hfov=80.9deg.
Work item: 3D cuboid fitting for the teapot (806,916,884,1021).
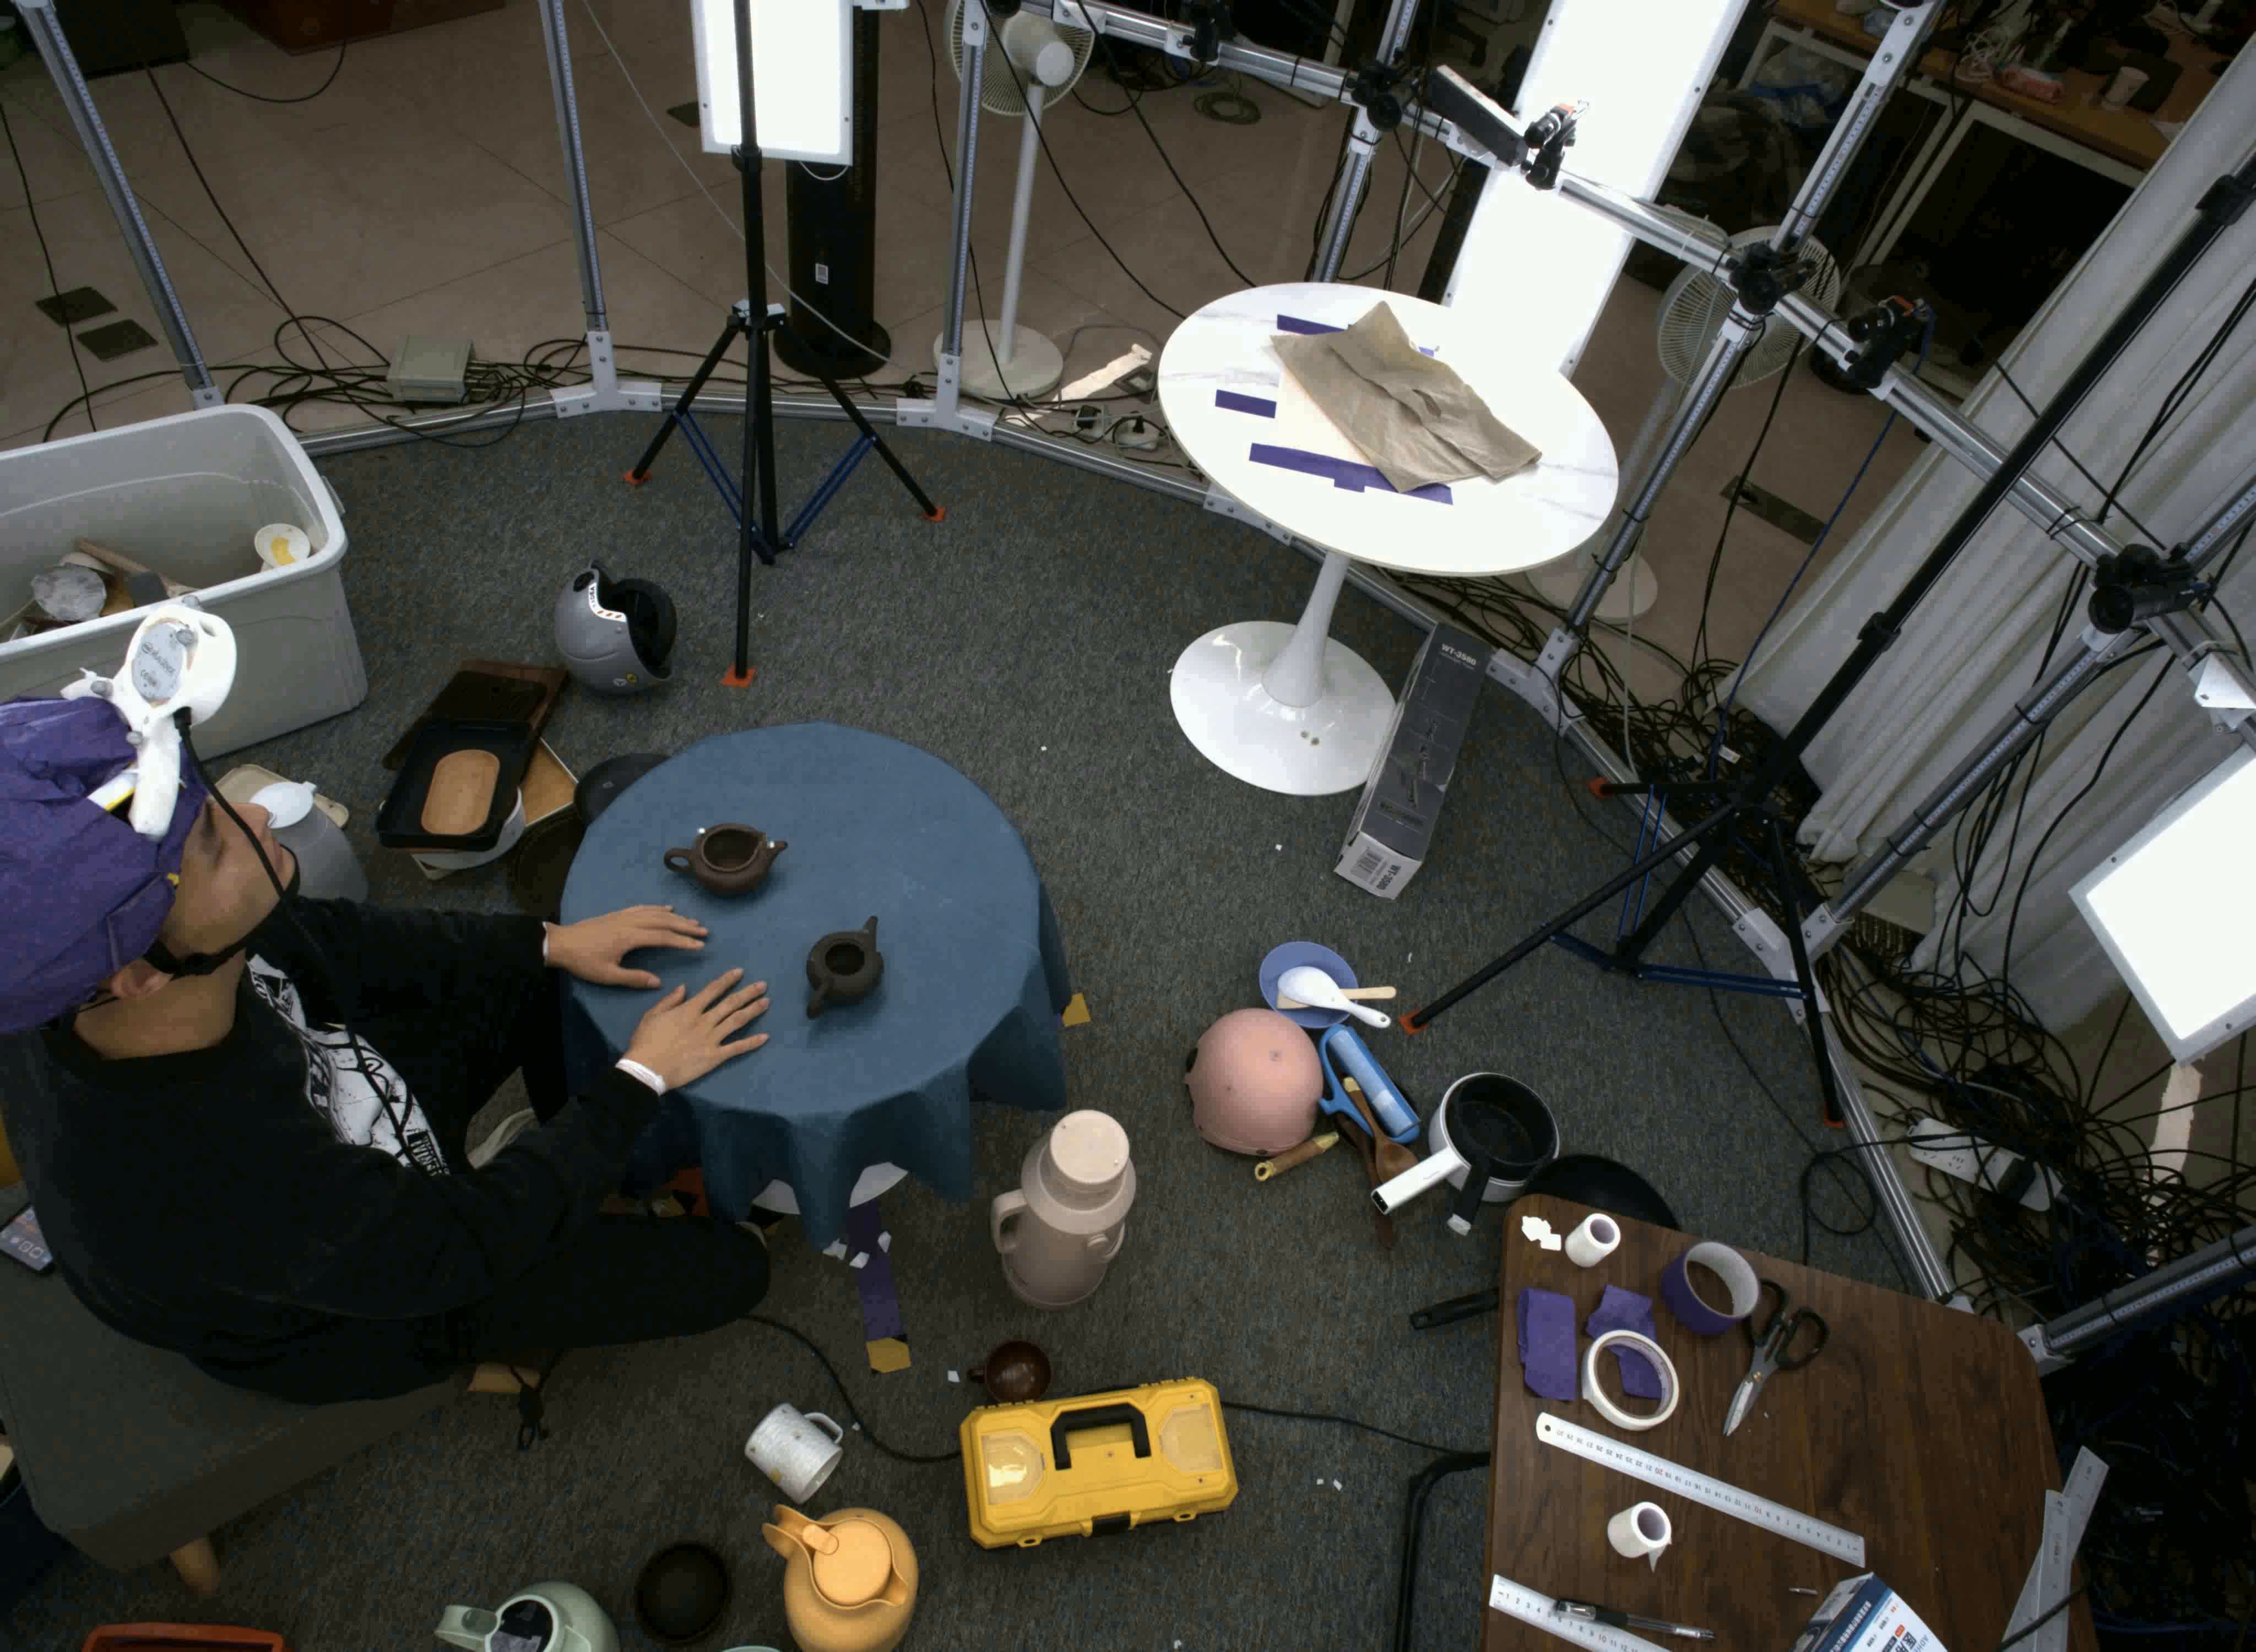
[{"bbox_3d":[-0.344,0.173,1.572,0.091,0.066,0.153,24,51,8],"label":"teapot"}]

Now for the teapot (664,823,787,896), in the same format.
[{"bbox_3d":[-0.508,0.040,1.634,0.154,0.055,0.100,-7,54,-20],"label":"teapot"}]
